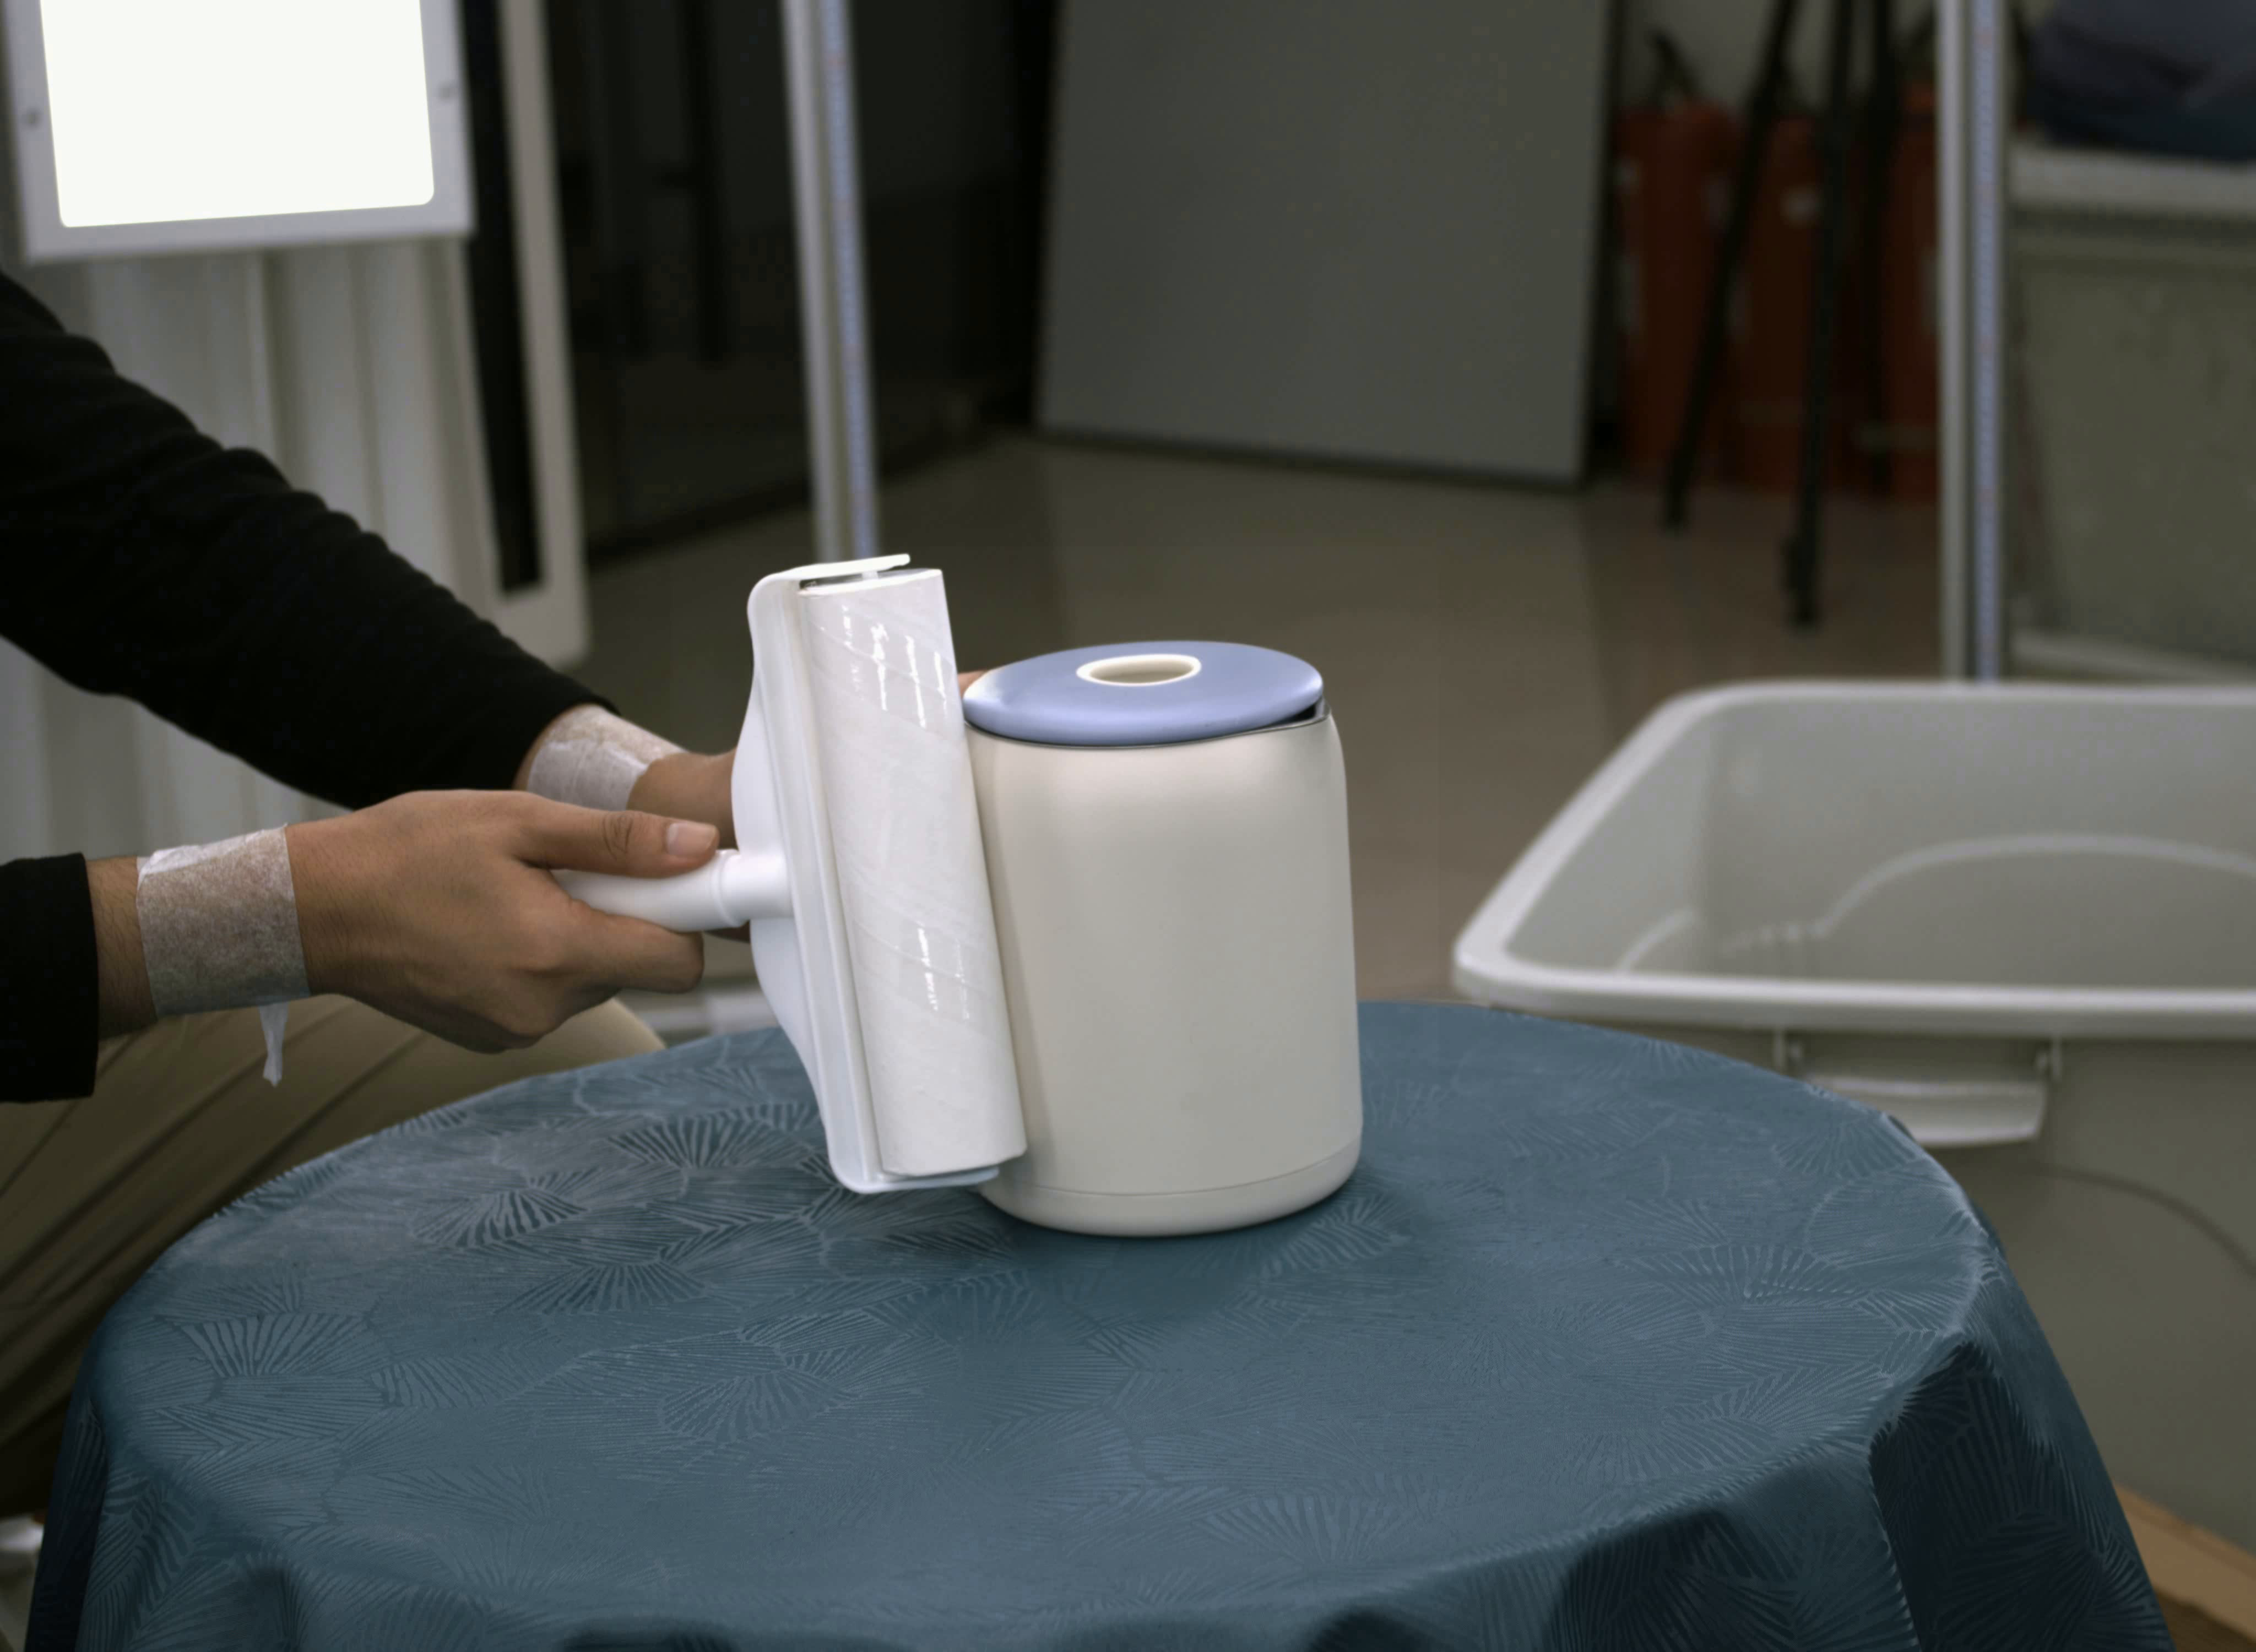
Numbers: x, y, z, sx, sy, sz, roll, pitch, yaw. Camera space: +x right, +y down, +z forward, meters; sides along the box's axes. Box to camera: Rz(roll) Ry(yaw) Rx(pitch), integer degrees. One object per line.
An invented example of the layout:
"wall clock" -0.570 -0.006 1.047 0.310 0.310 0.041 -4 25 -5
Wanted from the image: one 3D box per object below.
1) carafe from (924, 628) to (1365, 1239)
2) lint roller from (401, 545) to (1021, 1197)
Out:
"carafe" -0.012 0.033 1.769 0.192 0.184 0.130 2 14 31
"lint roller" -0.148 0.023 1.748 0.226 0.205 0.047 -7 7 29
